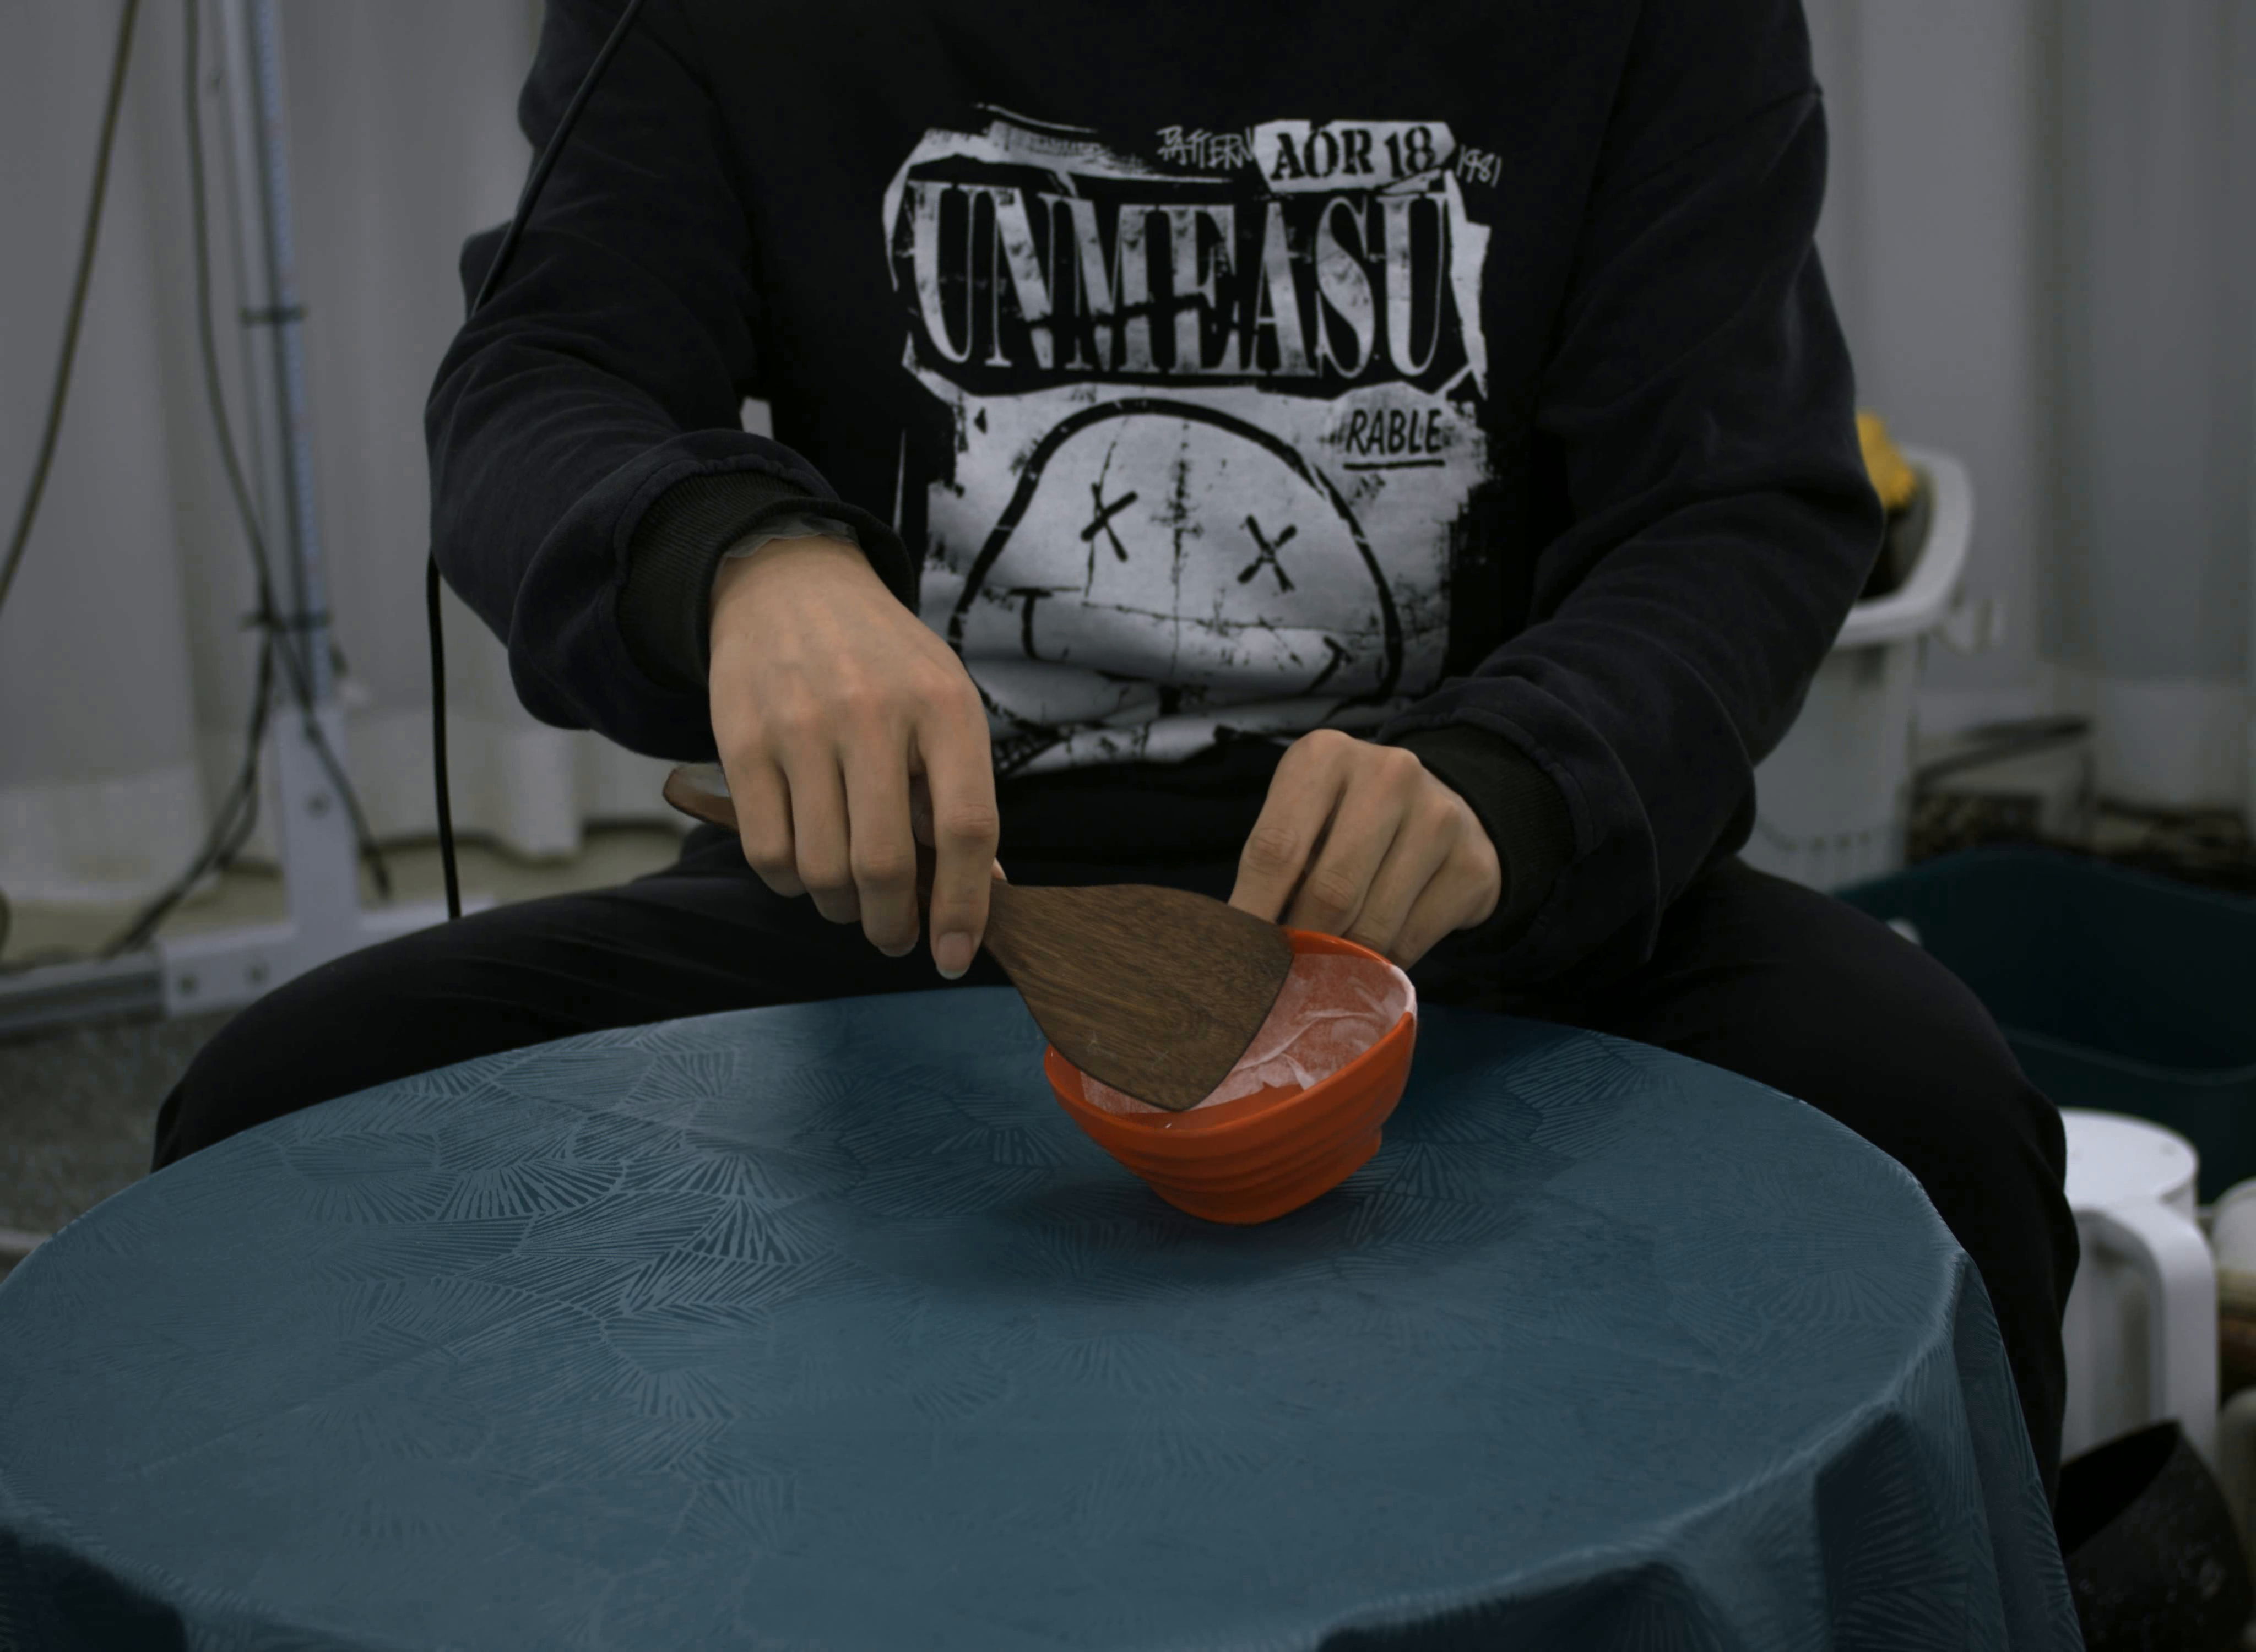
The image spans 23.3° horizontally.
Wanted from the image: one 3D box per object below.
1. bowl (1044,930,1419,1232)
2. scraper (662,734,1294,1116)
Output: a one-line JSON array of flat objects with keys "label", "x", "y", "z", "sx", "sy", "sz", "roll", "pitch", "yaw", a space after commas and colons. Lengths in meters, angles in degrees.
[{"label": "bowl", "x": 0.037, "y": 0.084, "z": 1.697, "sx": 0.118, "sy": 0.051, "sz": 0.120, "roll": -13, "pitch": 27, "yaw": 6}, {"label": "scraper", "x": -0.051, "y": 0.022, "z": 1.684, "sx": 0.212, "sy": 0.010, "sz": 0.076, "roll": 25, "pitch": 65, "yaw": 19}]
